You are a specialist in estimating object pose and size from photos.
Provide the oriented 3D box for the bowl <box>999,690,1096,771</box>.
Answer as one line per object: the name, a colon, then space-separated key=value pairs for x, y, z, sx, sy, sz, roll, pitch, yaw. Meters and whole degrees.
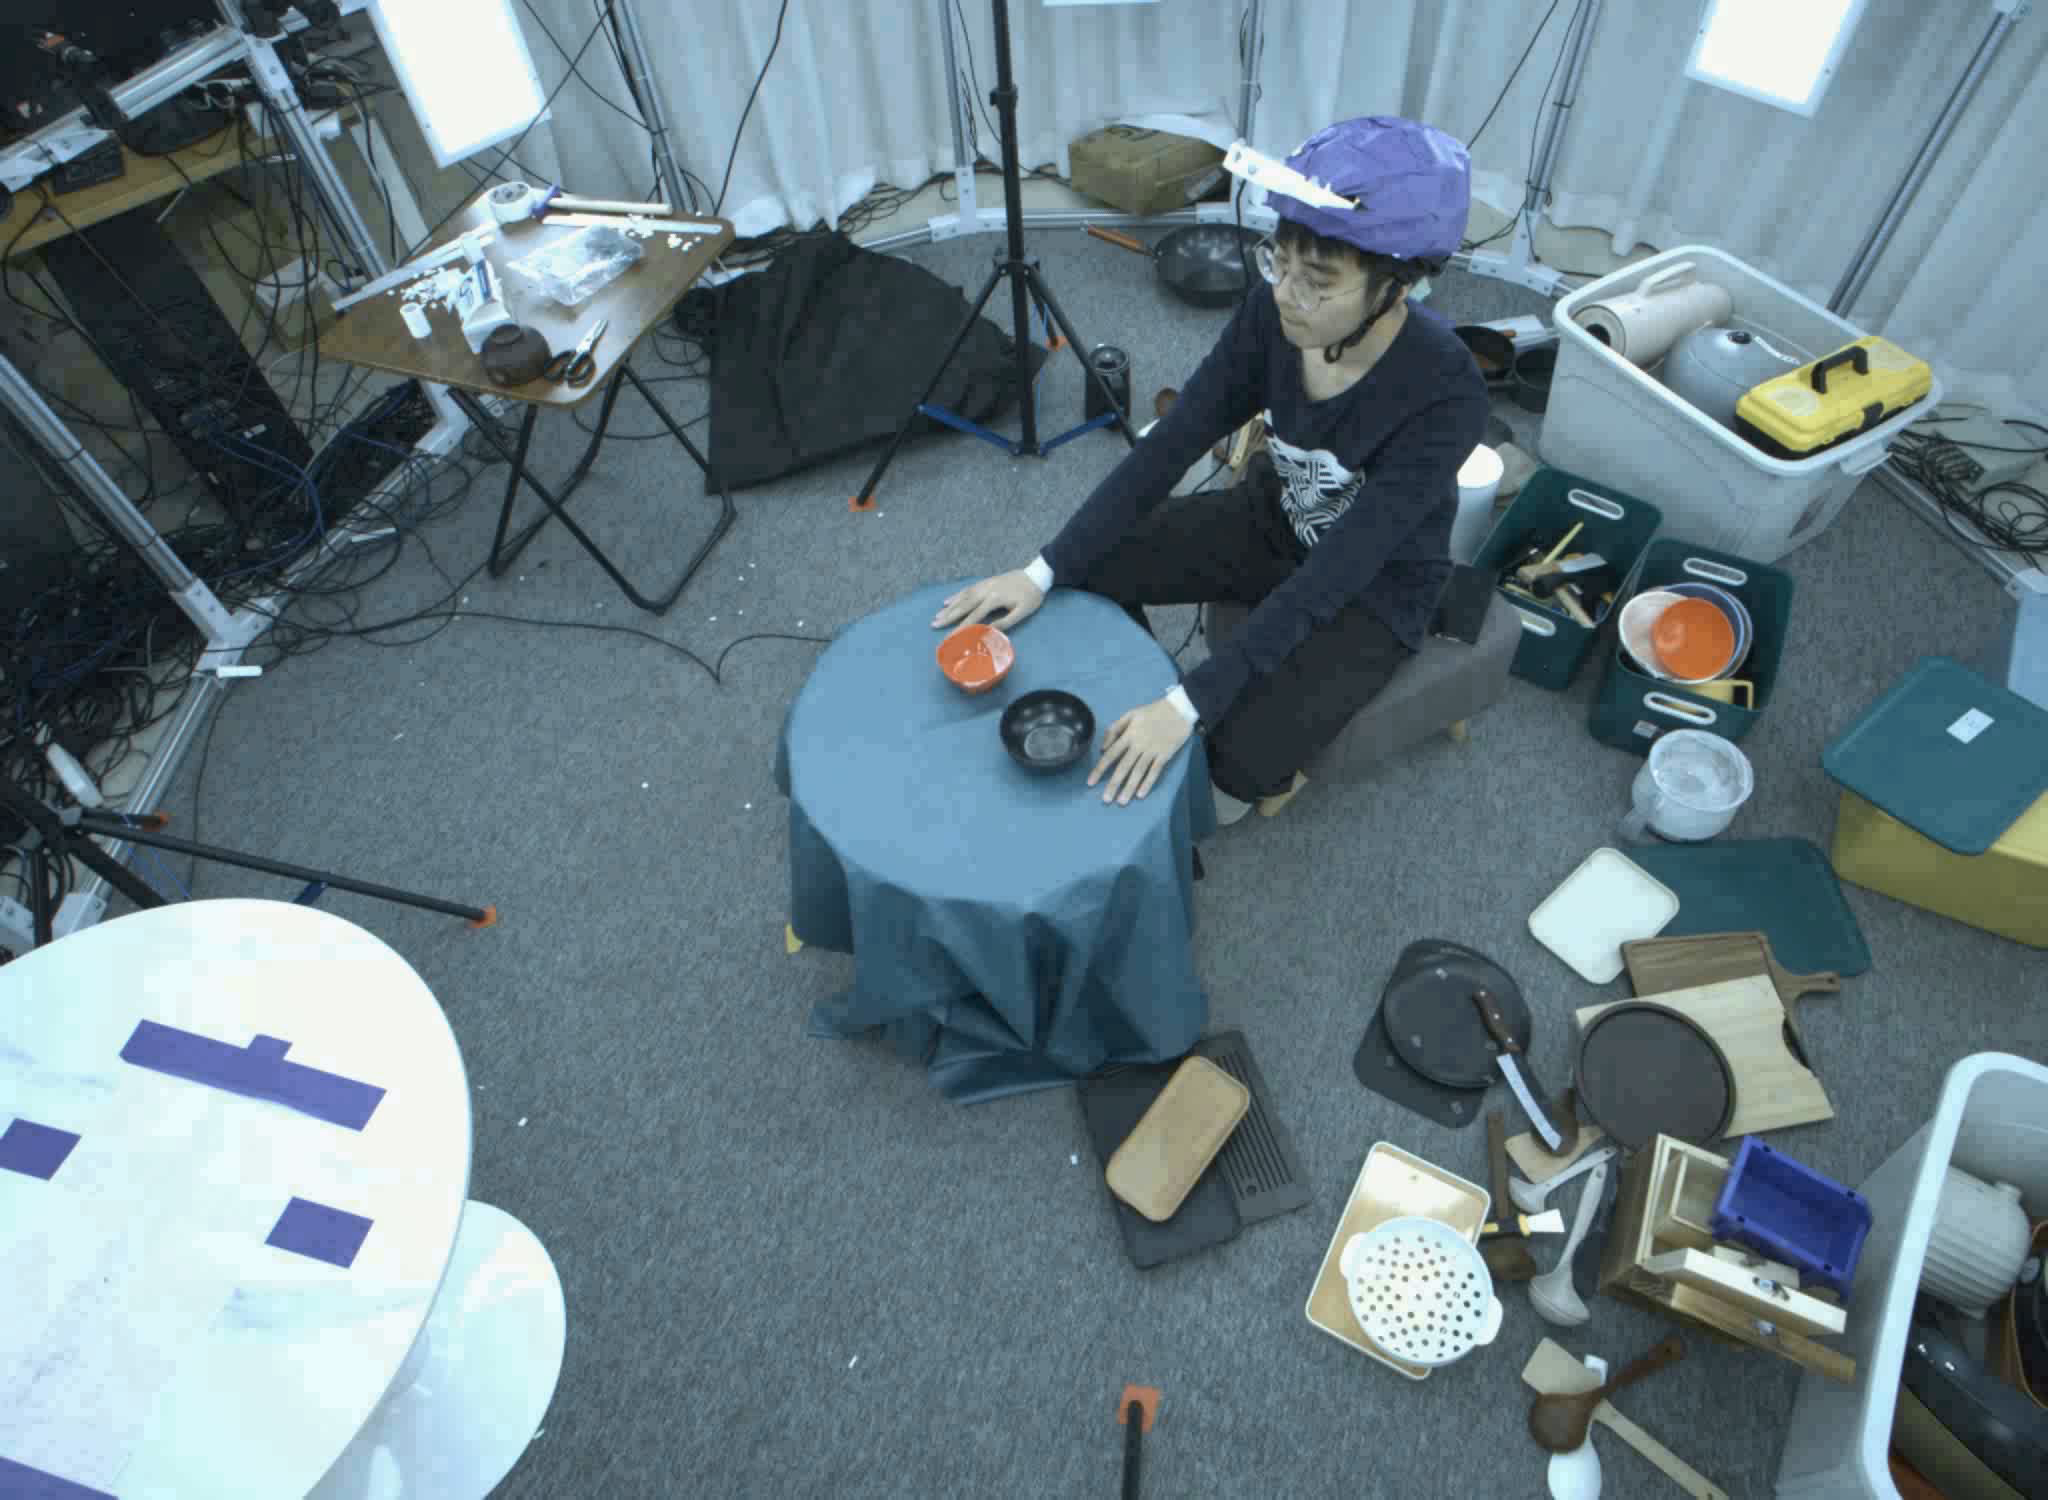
bowl: x=0.033 y=-0.020 z=1.782 sx=0.140 sy=0.050 sz=0.138 roll=2 pitch=52 yaw=-1

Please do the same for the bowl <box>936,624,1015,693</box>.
bowl: x=-0.071 y=-0.131 z=1.858 sx=0.119 sy=0.052 sz=0.117 roll=-1 pitch=54 yaw=3
